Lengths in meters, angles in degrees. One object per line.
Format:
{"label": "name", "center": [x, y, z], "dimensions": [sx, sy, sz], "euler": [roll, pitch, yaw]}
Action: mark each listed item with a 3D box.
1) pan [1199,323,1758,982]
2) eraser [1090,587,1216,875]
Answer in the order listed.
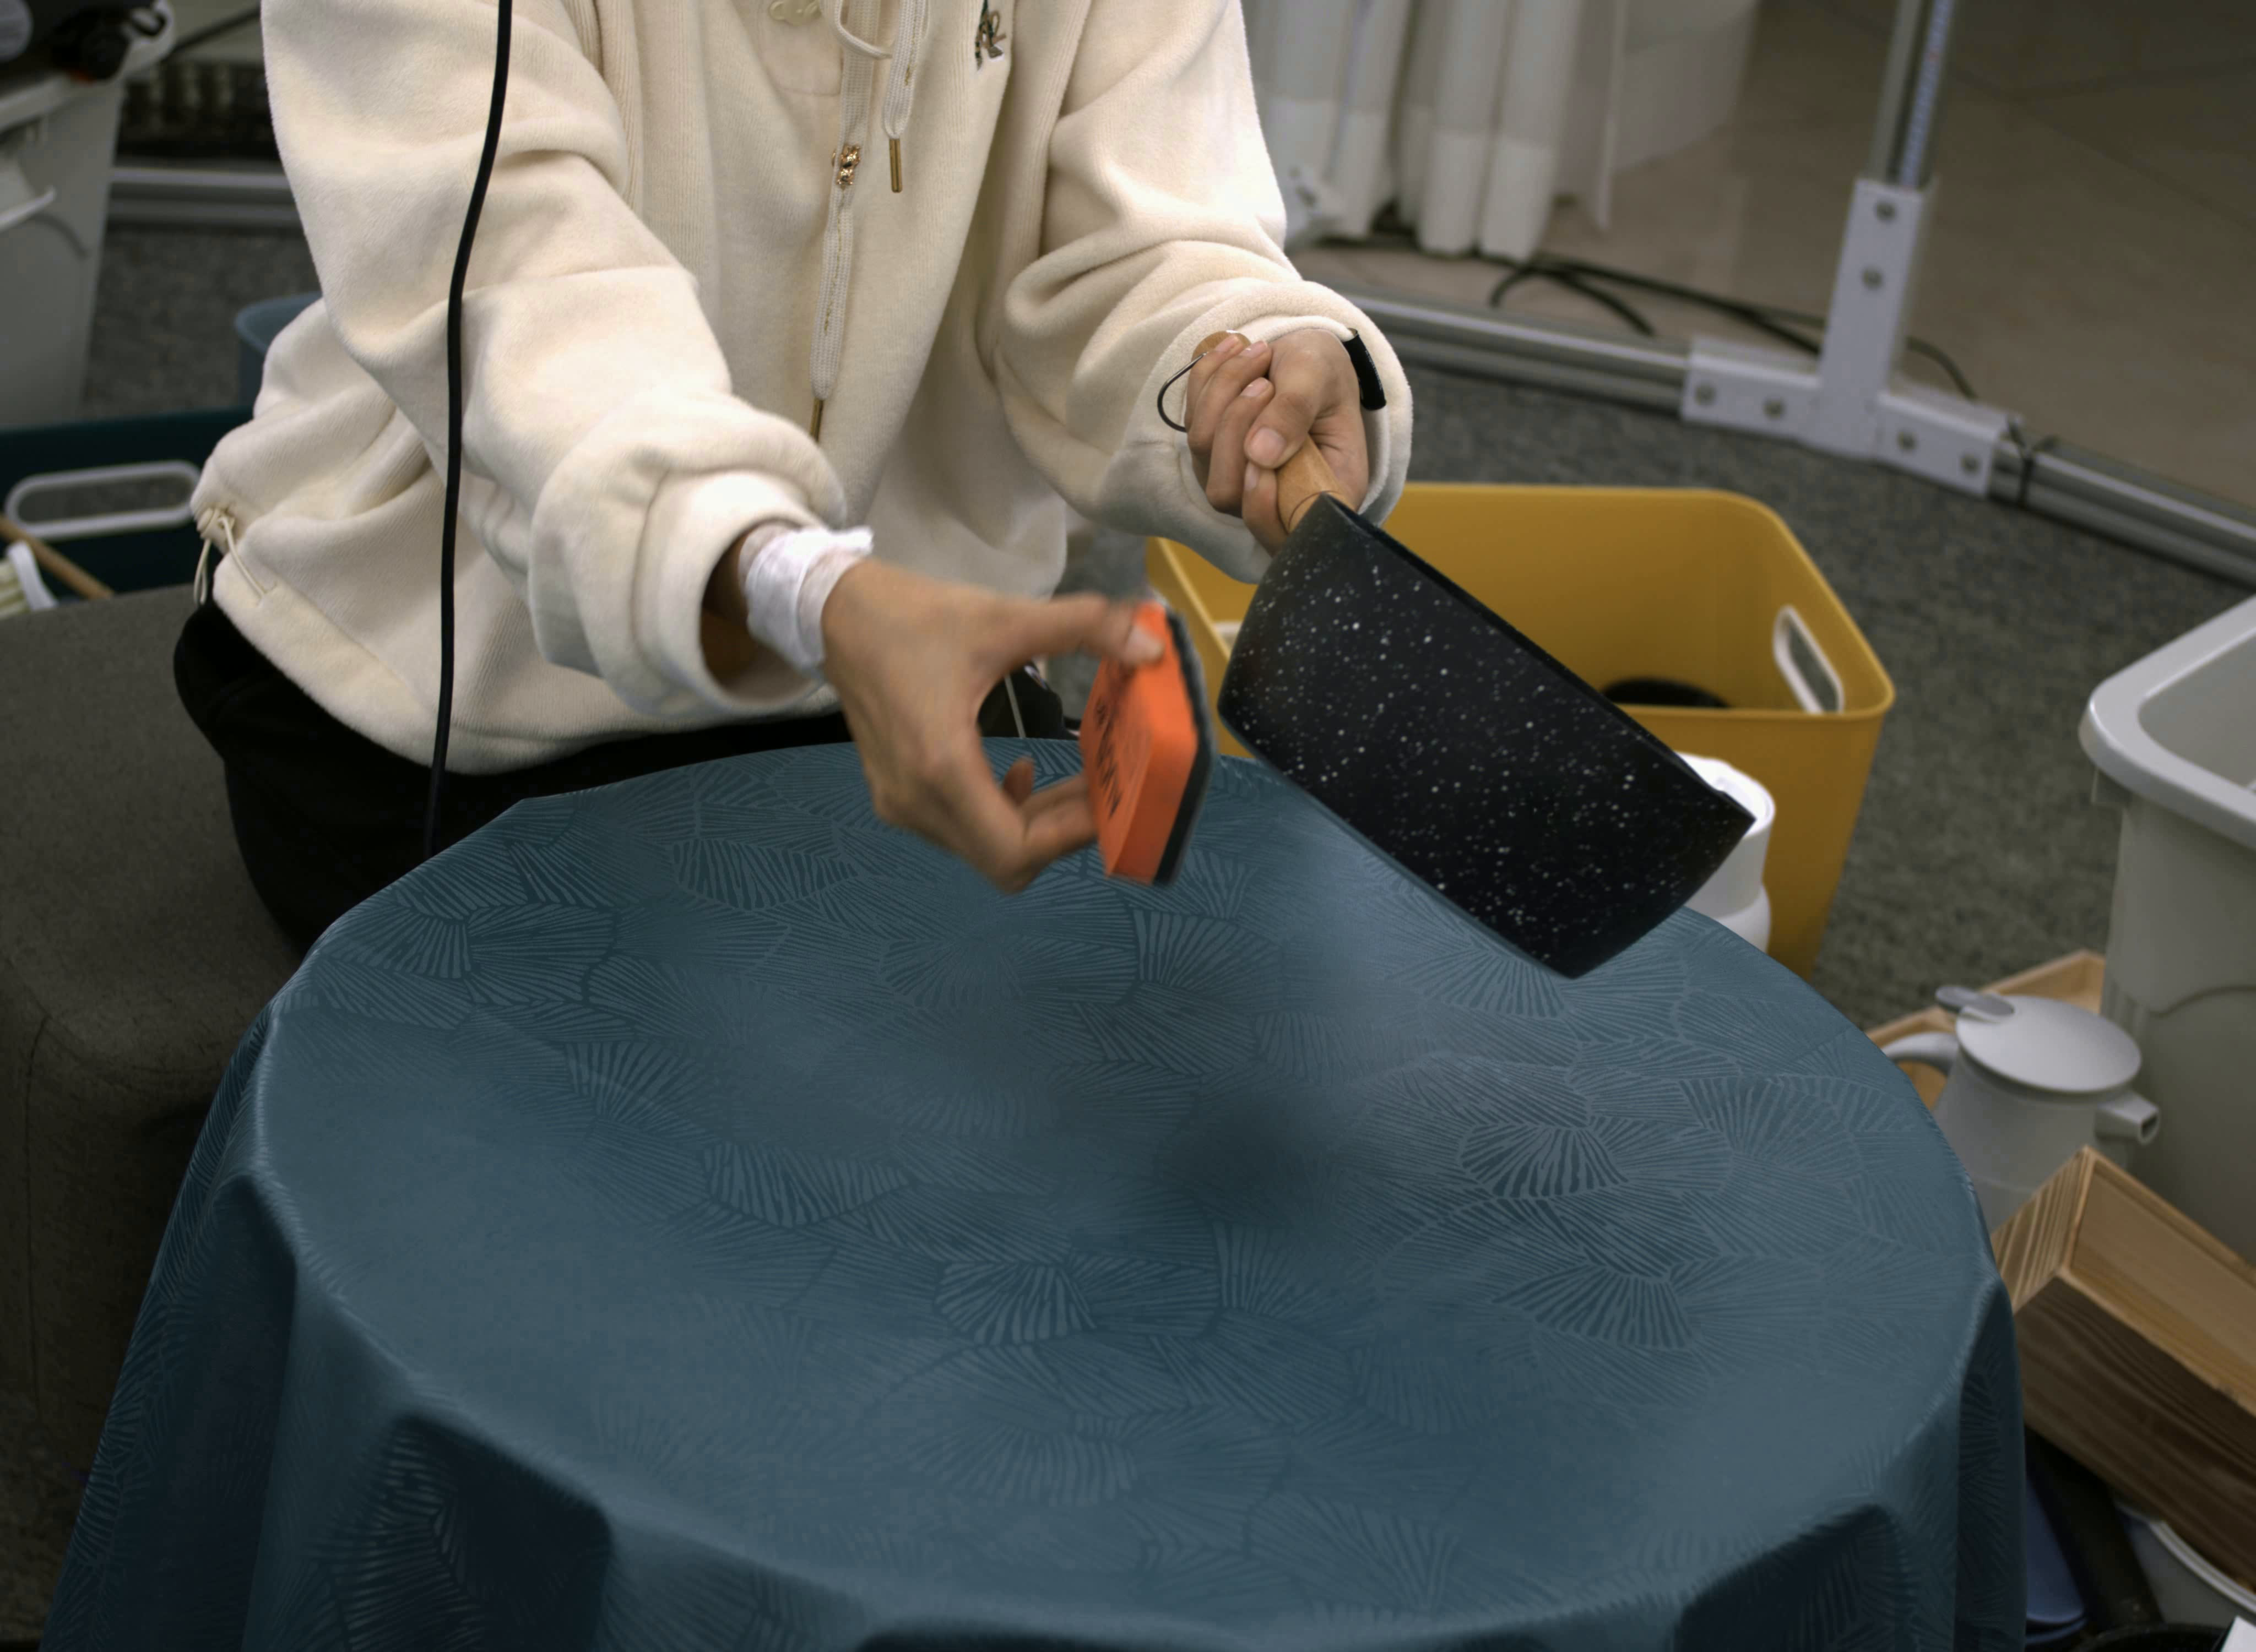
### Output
{"label": "pan", "center": [0.082, -0.070, 1.855], "dimensions": [0.205, 0.108, 0.346], "euler": [32, 9, -39]}
{"label": "eraser", "center": [0.008, -0.033, 1.780], "dimensions": [0.023, 0.059, 0.109], "euler": [10, 27, -11]}
